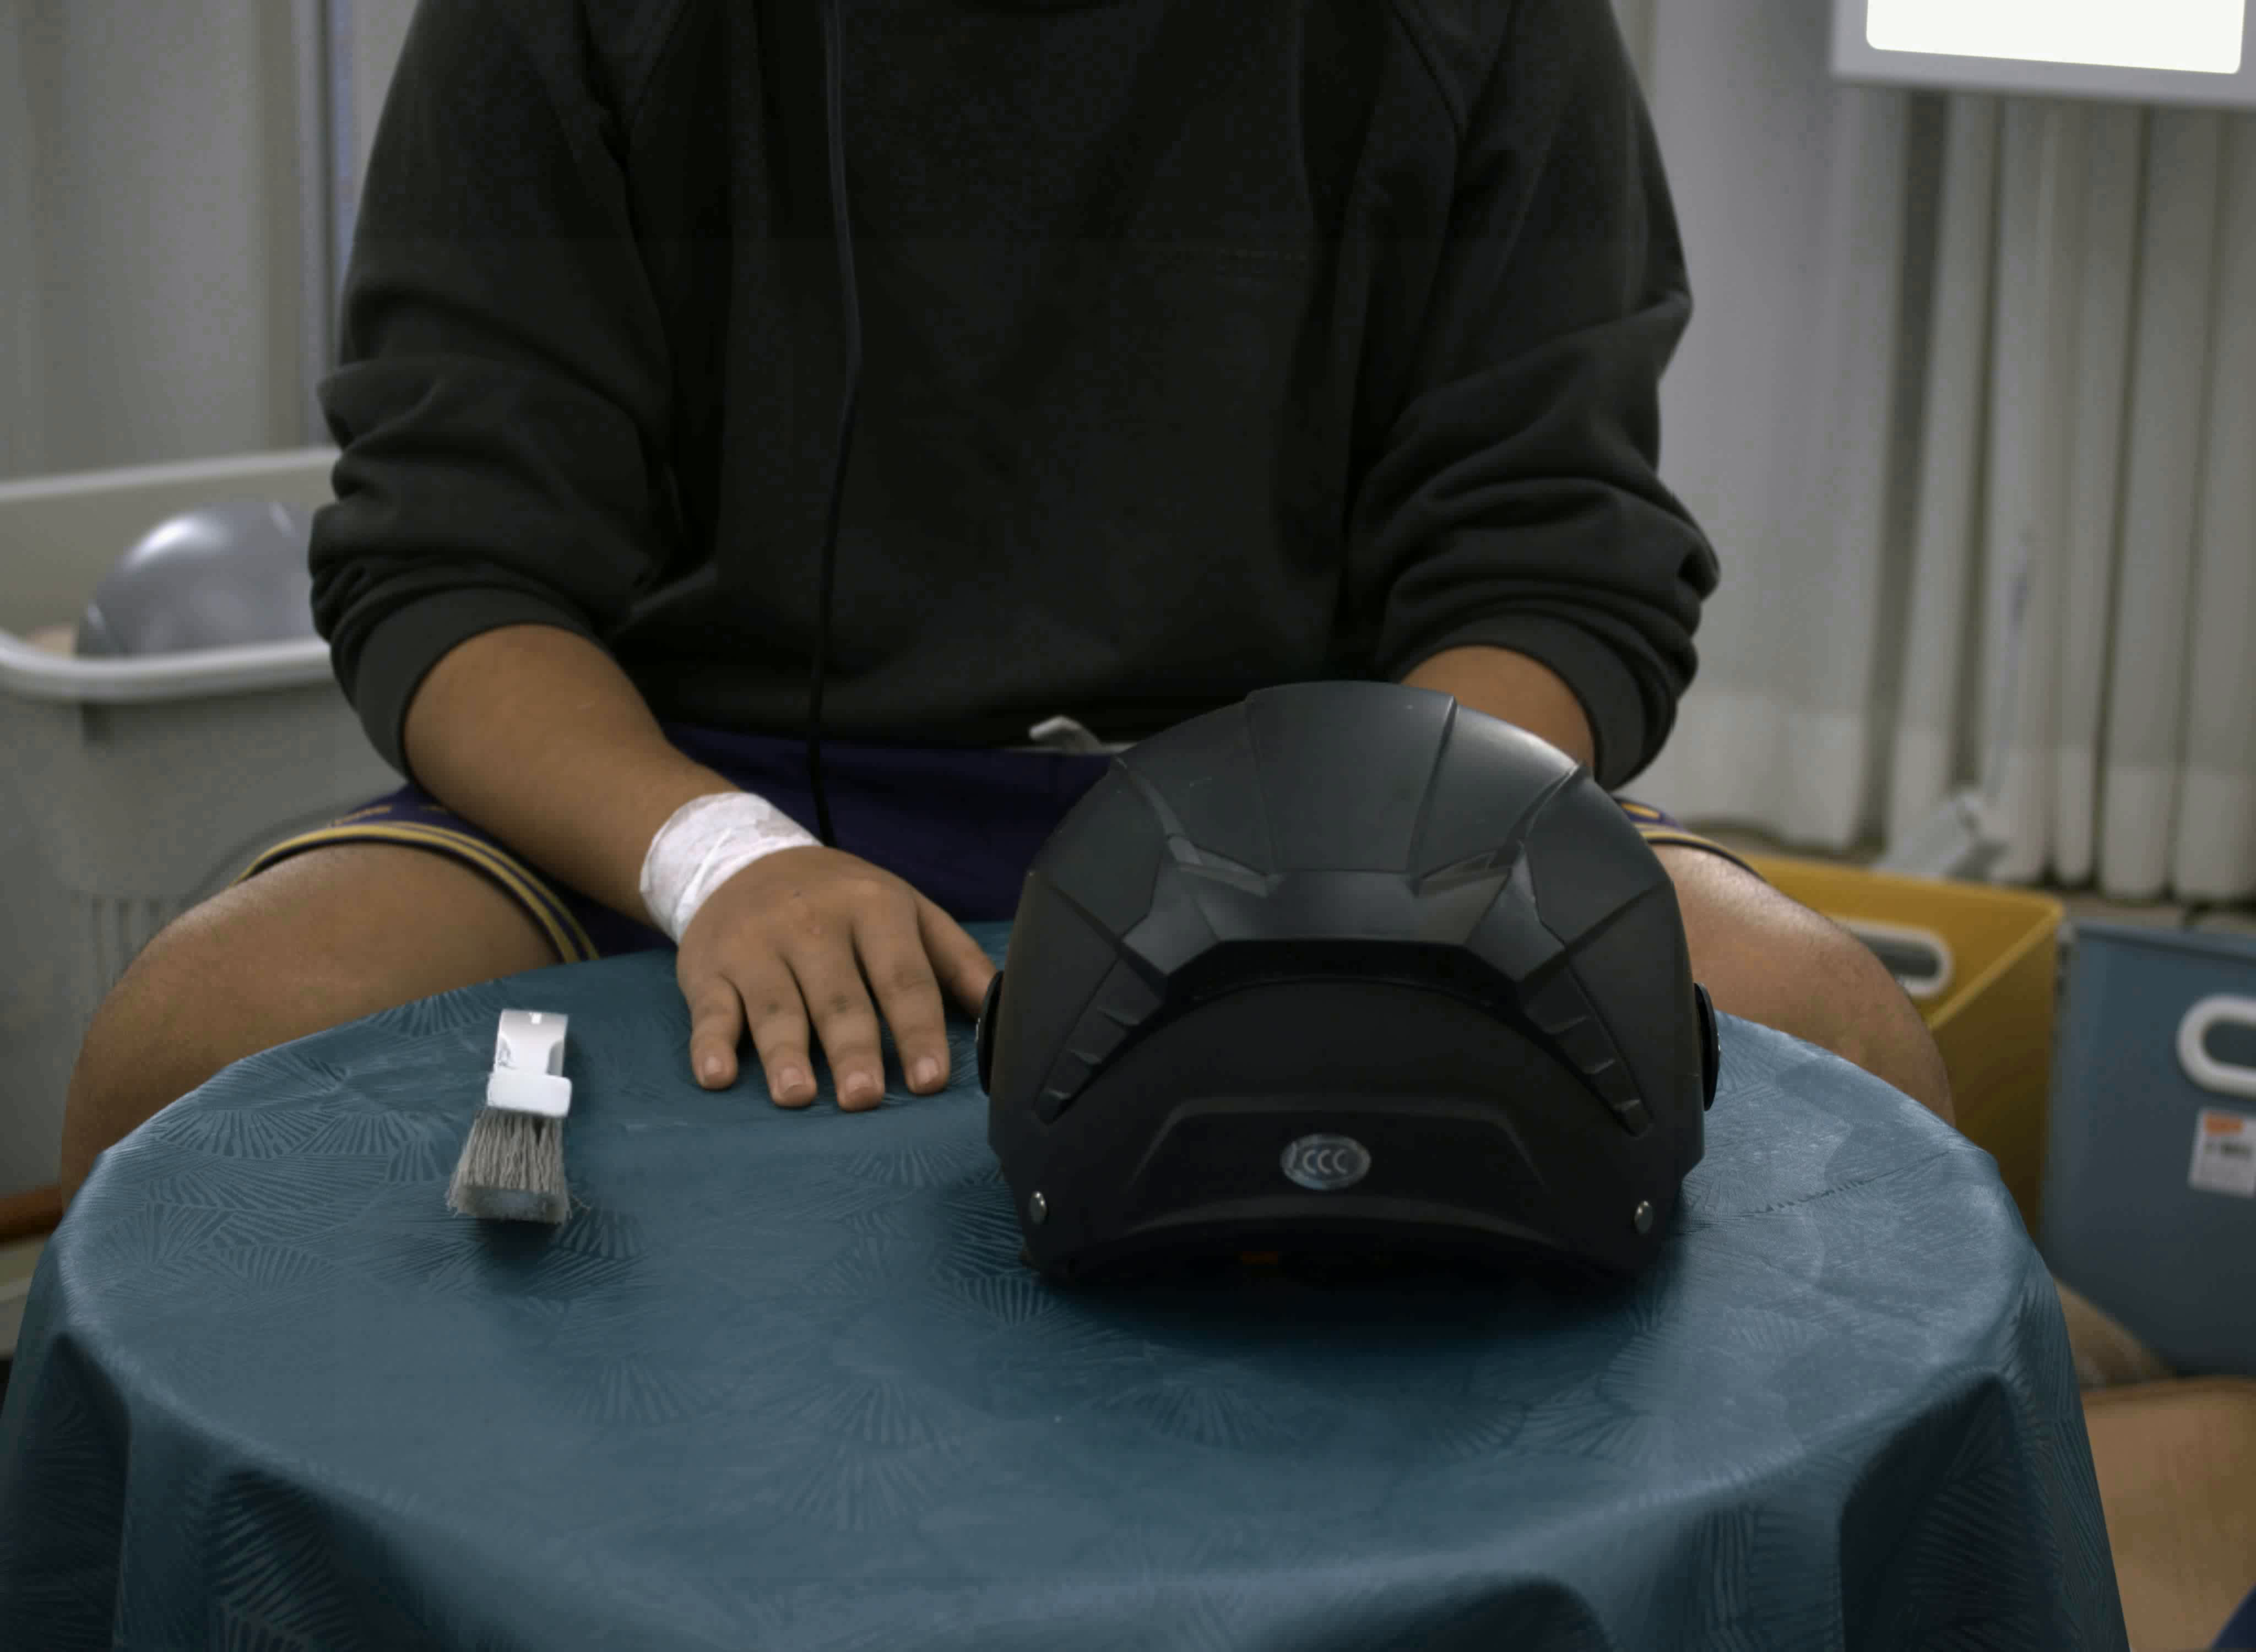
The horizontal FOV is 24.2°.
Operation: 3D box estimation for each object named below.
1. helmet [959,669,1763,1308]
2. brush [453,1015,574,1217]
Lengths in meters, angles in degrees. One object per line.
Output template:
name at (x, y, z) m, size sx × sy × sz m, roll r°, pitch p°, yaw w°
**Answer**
helmet at (0.070, 0.039, 1.591) m, size 0.245 × 0.174 × 0.275 m, roll 2°, pitch 18°, yaw 4°
brush at (-0.192, 0.090, 1.653) m, size 0.034 × 0.050 × 0.243 m, roll 5°, pitch 1°, yaw -6°
